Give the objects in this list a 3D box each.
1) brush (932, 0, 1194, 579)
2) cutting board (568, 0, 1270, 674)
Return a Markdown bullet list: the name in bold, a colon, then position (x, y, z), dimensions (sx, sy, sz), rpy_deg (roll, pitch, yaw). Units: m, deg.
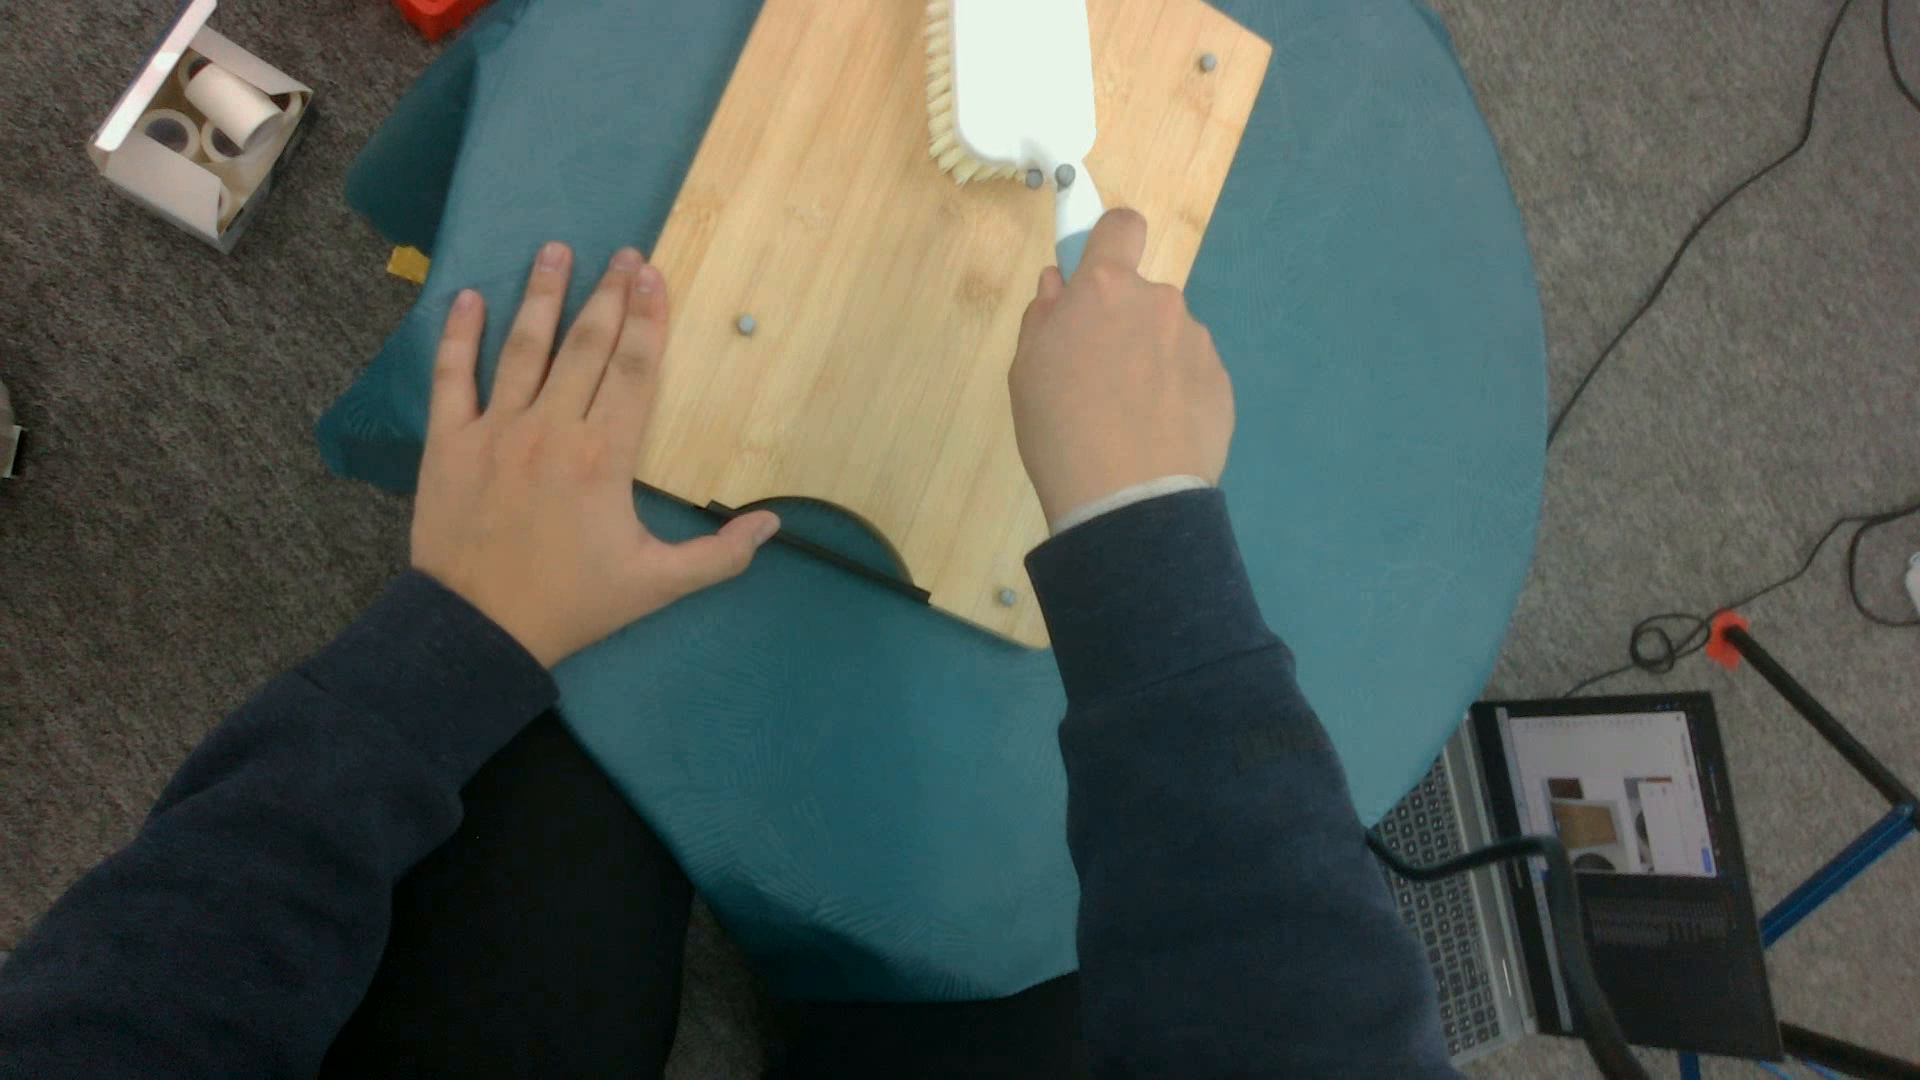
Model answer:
- **brush**: position (0.037, -0.130, 0.622), dimensions (0.083, 0.084, 0.326), rpy_deg (-13, 74, 10)
- **cutting board**: position (-0.004, -0.139, 0.670), dimensions (0.251, 0.023, 0.349), rpy_deg (23, 80, -18)
